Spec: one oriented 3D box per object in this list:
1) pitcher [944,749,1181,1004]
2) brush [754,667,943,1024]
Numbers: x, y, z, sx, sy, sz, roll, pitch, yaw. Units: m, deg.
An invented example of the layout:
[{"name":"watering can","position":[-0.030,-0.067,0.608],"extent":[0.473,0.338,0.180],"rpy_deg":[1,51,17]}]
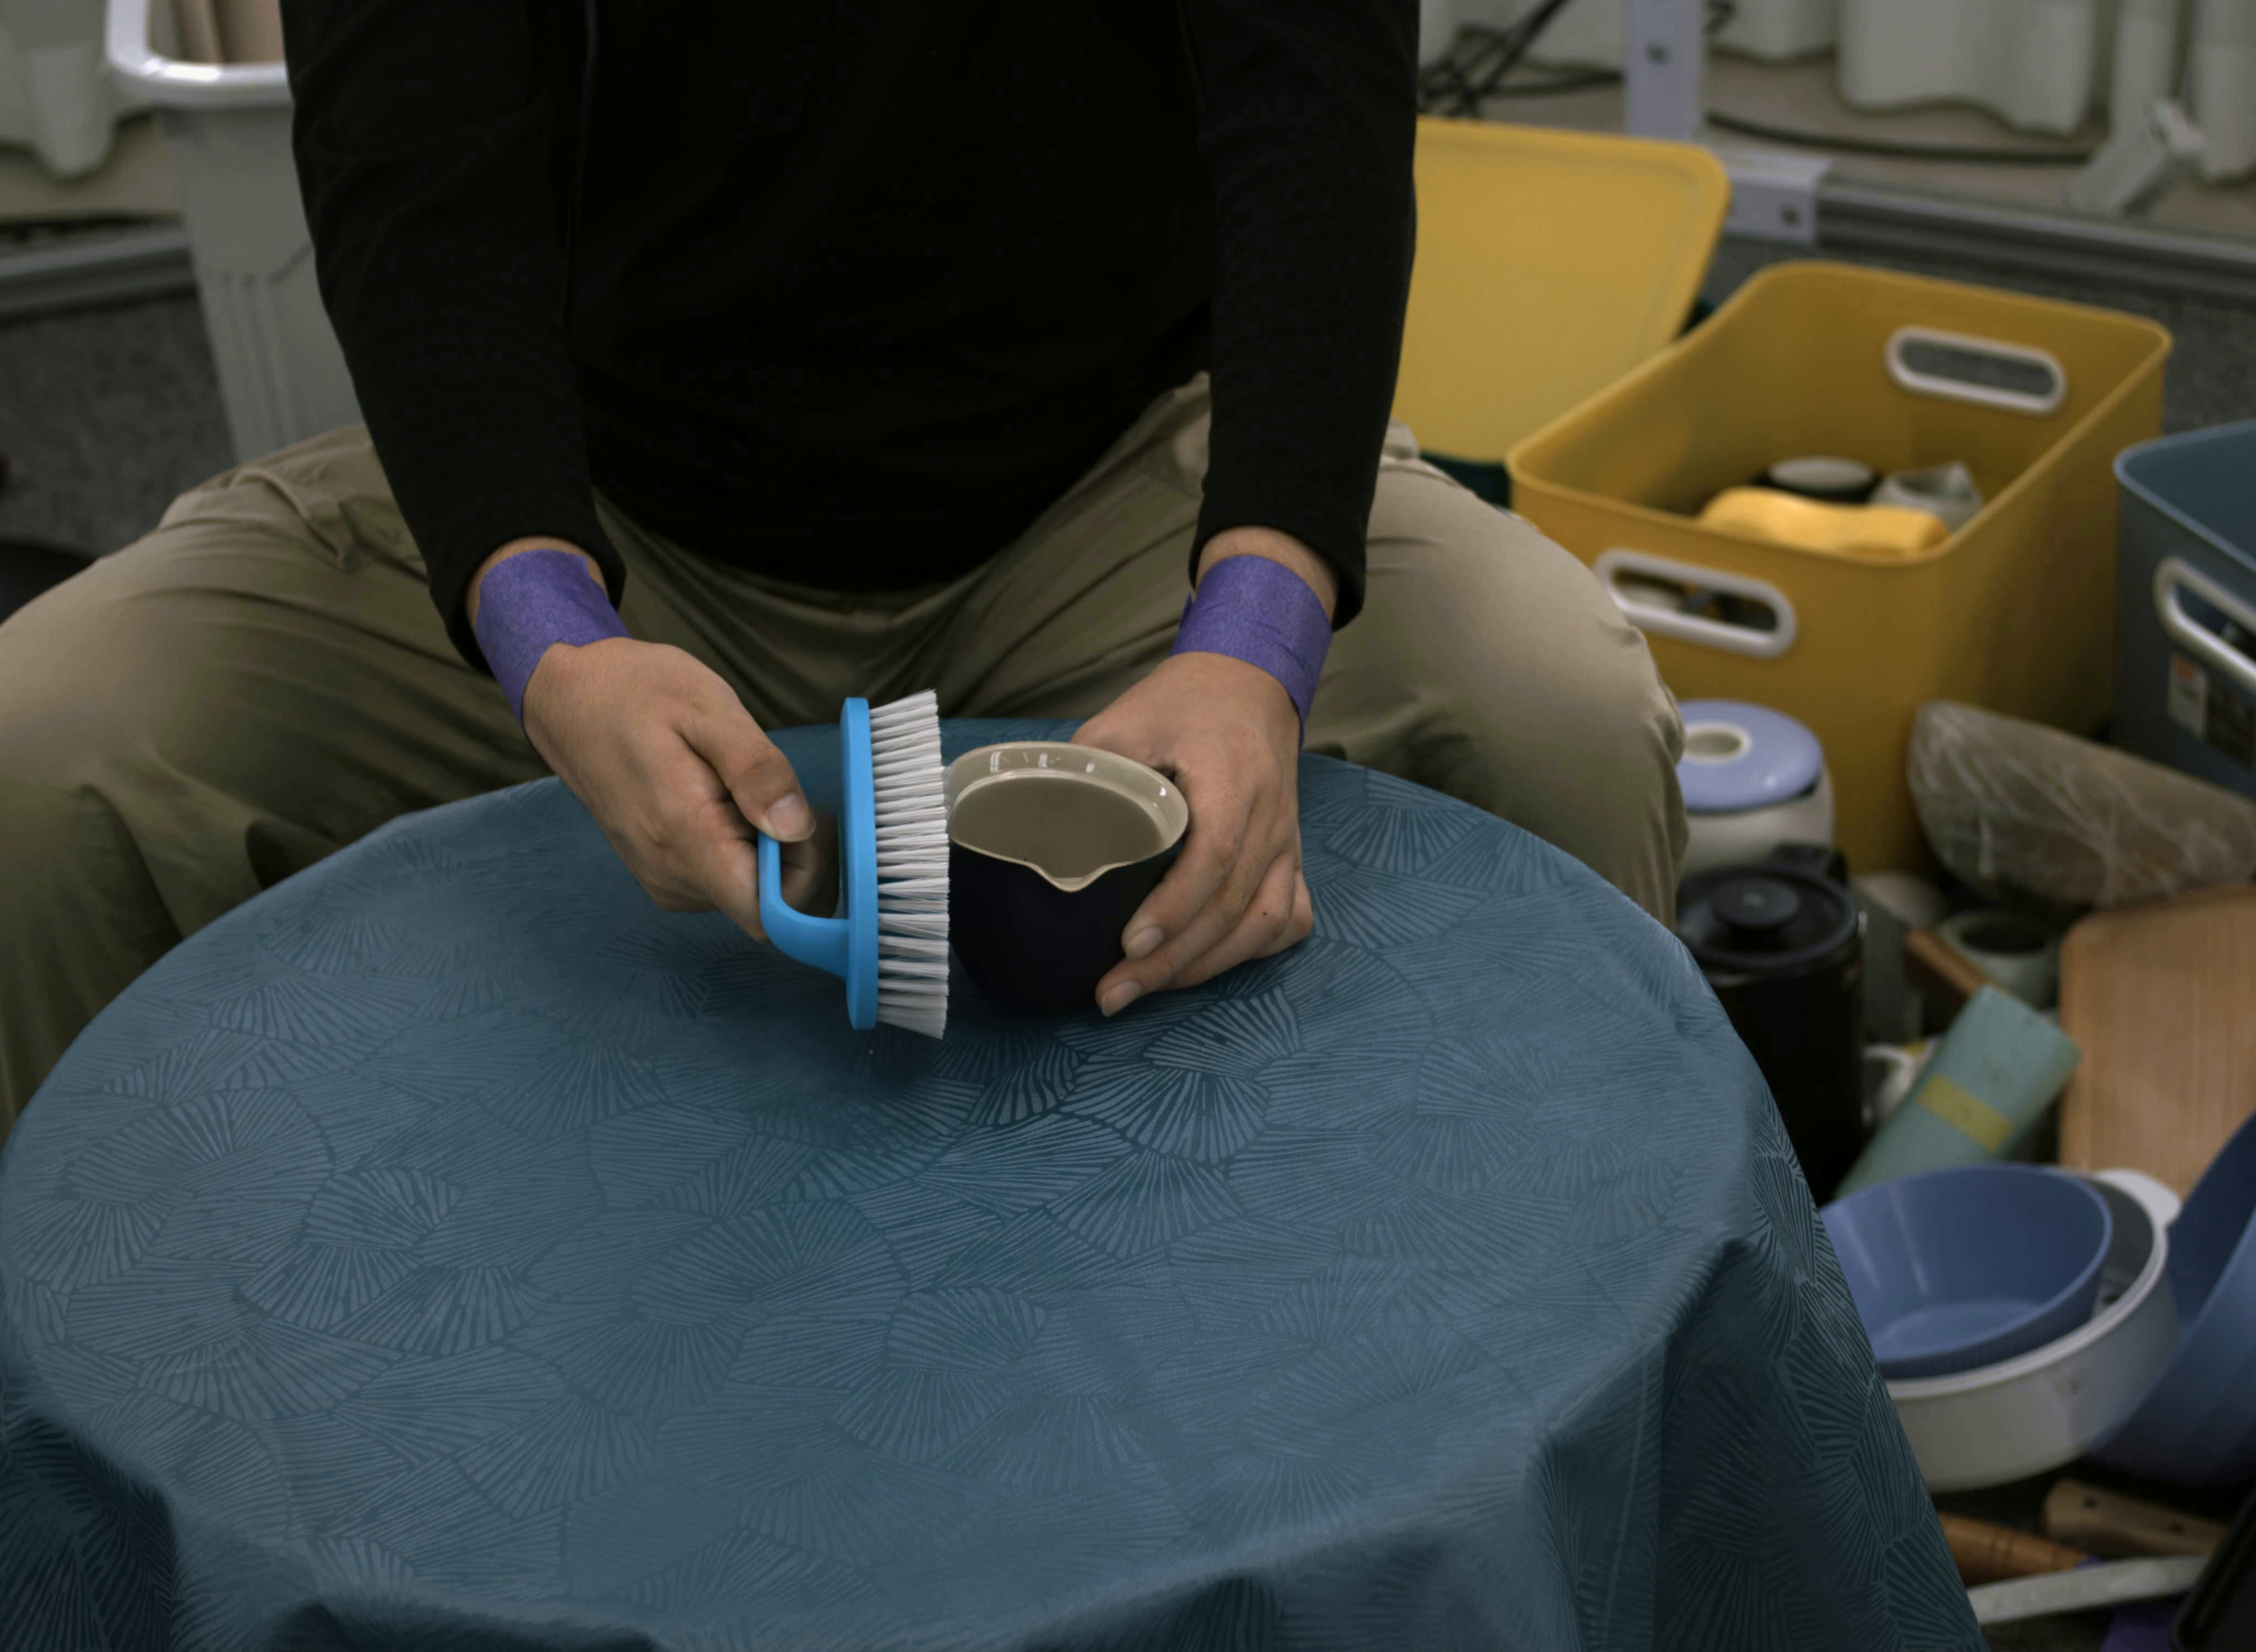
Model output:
[{"name":"pitcher","position":[-0.025,0.022,1.970],"extent":[0.083,0.070,0.097],"rpy_deg":[5,29,-3]},{"name":"brush","position":[-0.098,0.010,1.948],"extent":[0.063,0.083,0.144],"rpy_deg":[-2,42,-2]}]
